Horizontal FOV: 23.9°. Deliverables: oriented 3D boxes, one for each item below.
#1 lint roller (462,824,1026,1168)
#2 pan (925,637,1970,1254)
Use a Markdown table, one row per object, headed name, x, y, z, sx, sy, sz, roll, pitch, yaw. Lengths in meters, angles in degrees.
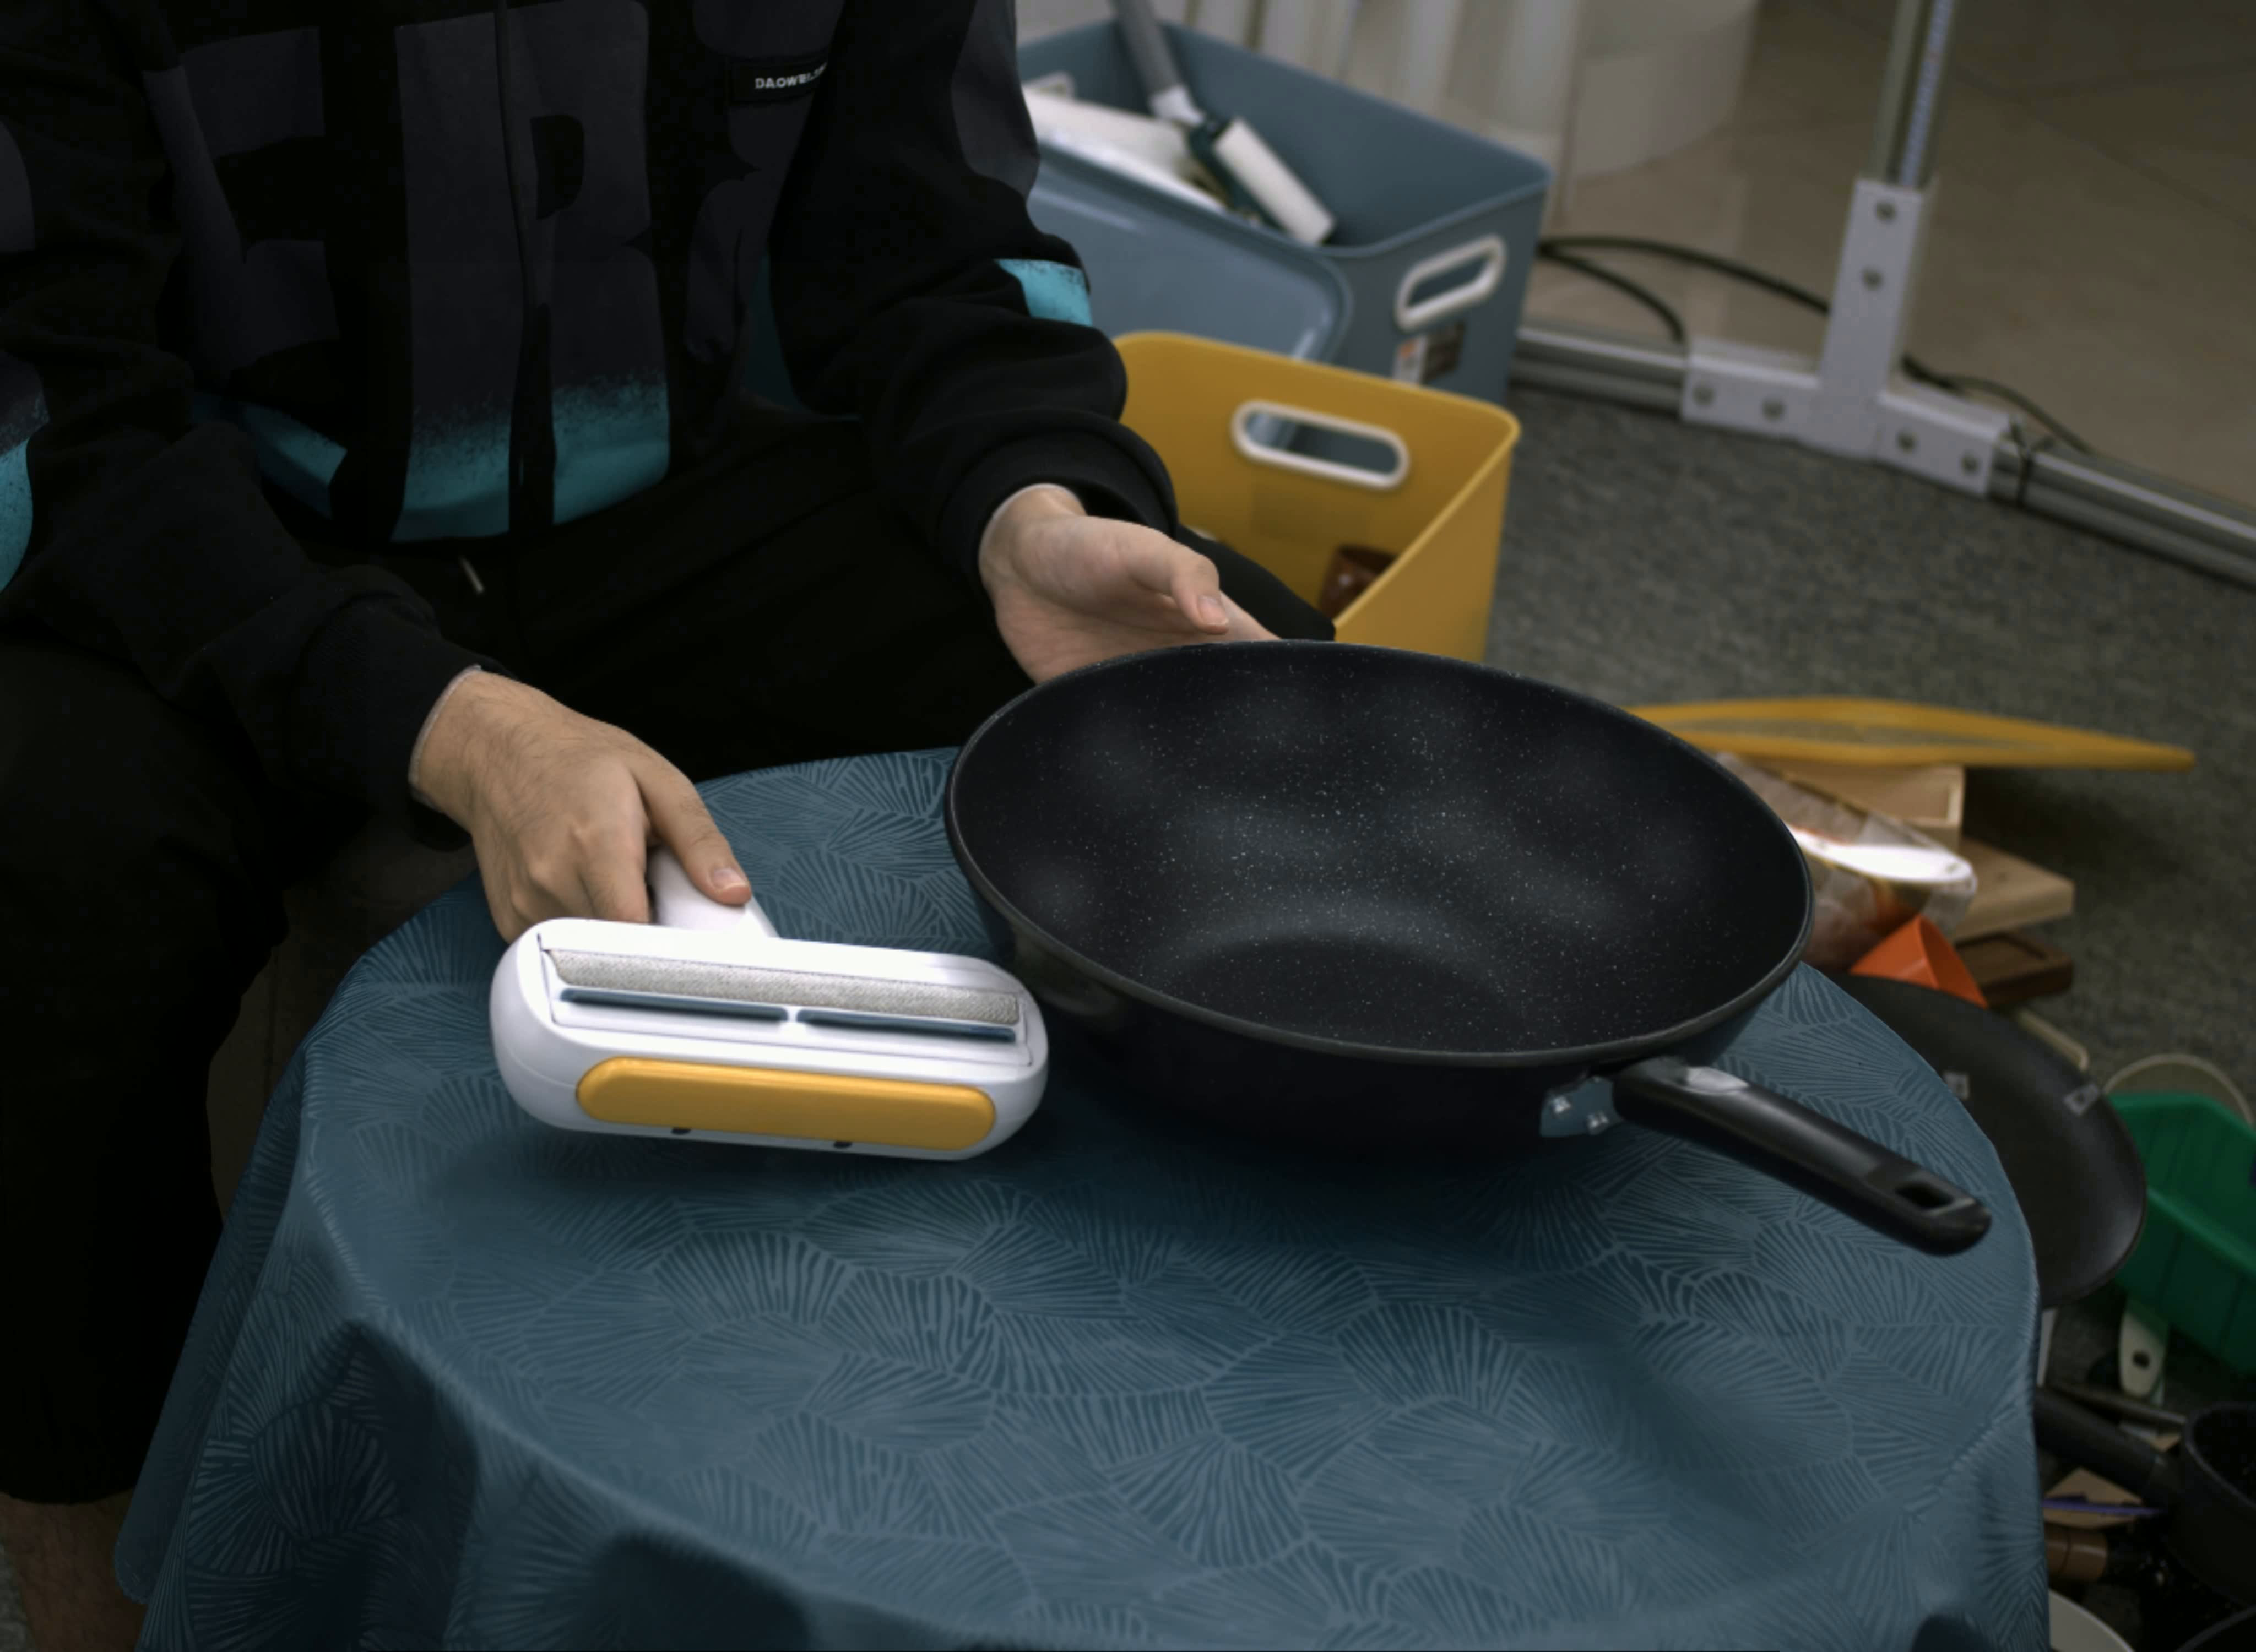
| name | x | y | z | sx | sy | sz | roll | pitch | yaw |
| --- | --- | --- | --- | --- | --- | --- | --- | --- | --- |
| lint roller | -0.140 | 0.044 | 1.832 | 0.191 | 0.074 | 0.194 | 4 | 34 | -16 |
| pan | 0.124 | 0.065 | 1.825 | 0.308 | 0.111 | 0.481 | -12 | 32 | -29 |
